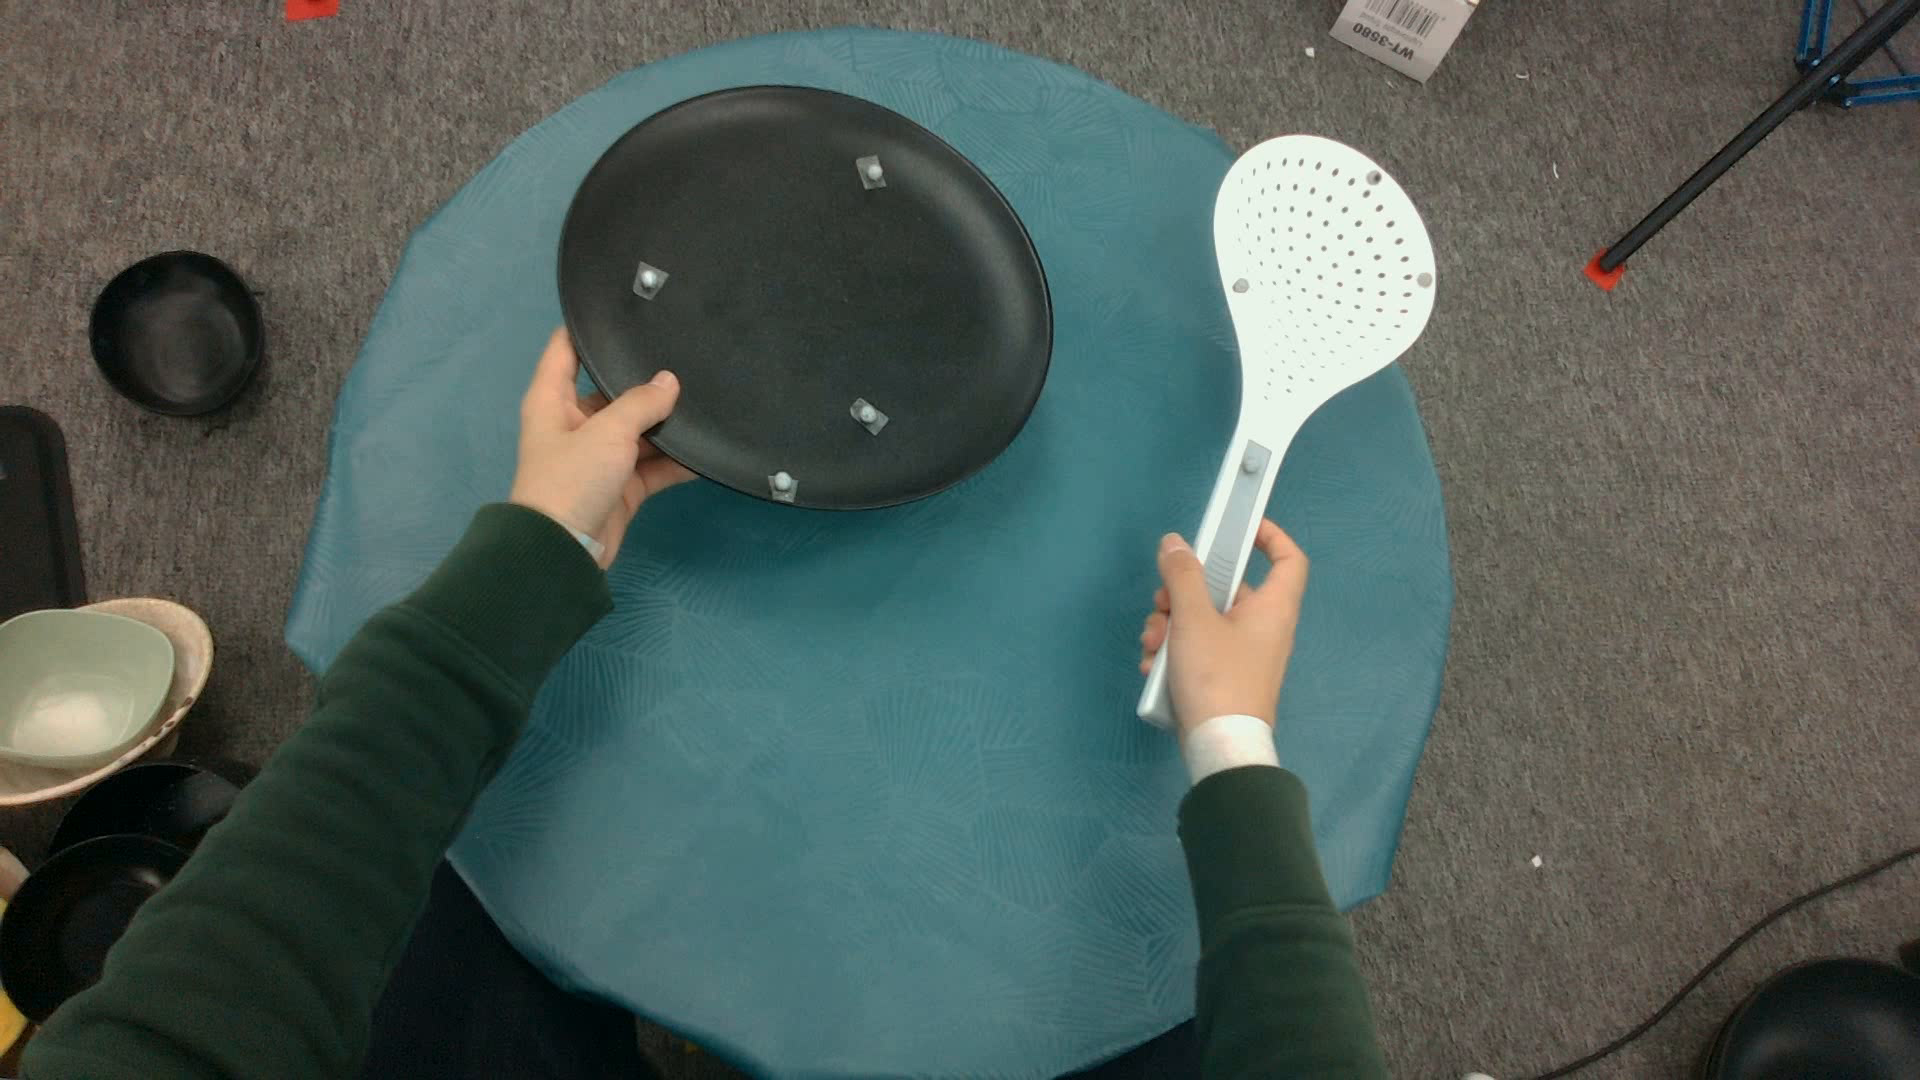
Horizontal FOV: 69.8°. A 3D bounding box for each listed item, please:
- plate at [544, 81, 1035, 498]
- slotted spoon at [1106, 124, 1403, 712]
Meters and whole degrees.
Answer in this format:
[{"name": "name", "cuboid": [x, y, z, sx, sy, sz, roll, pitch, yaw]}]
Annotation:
[{"name": "plate", "cuboid": [-0.081, -0.127, 0.688, 0.244, 0.023, 0.245, 7, 64, -14]}, {"name": "slotted spoon", "cuboid": [0.143, -0.072, 0.715, 0.136, 0.045, 0.351, 27, 62, -10]}]
